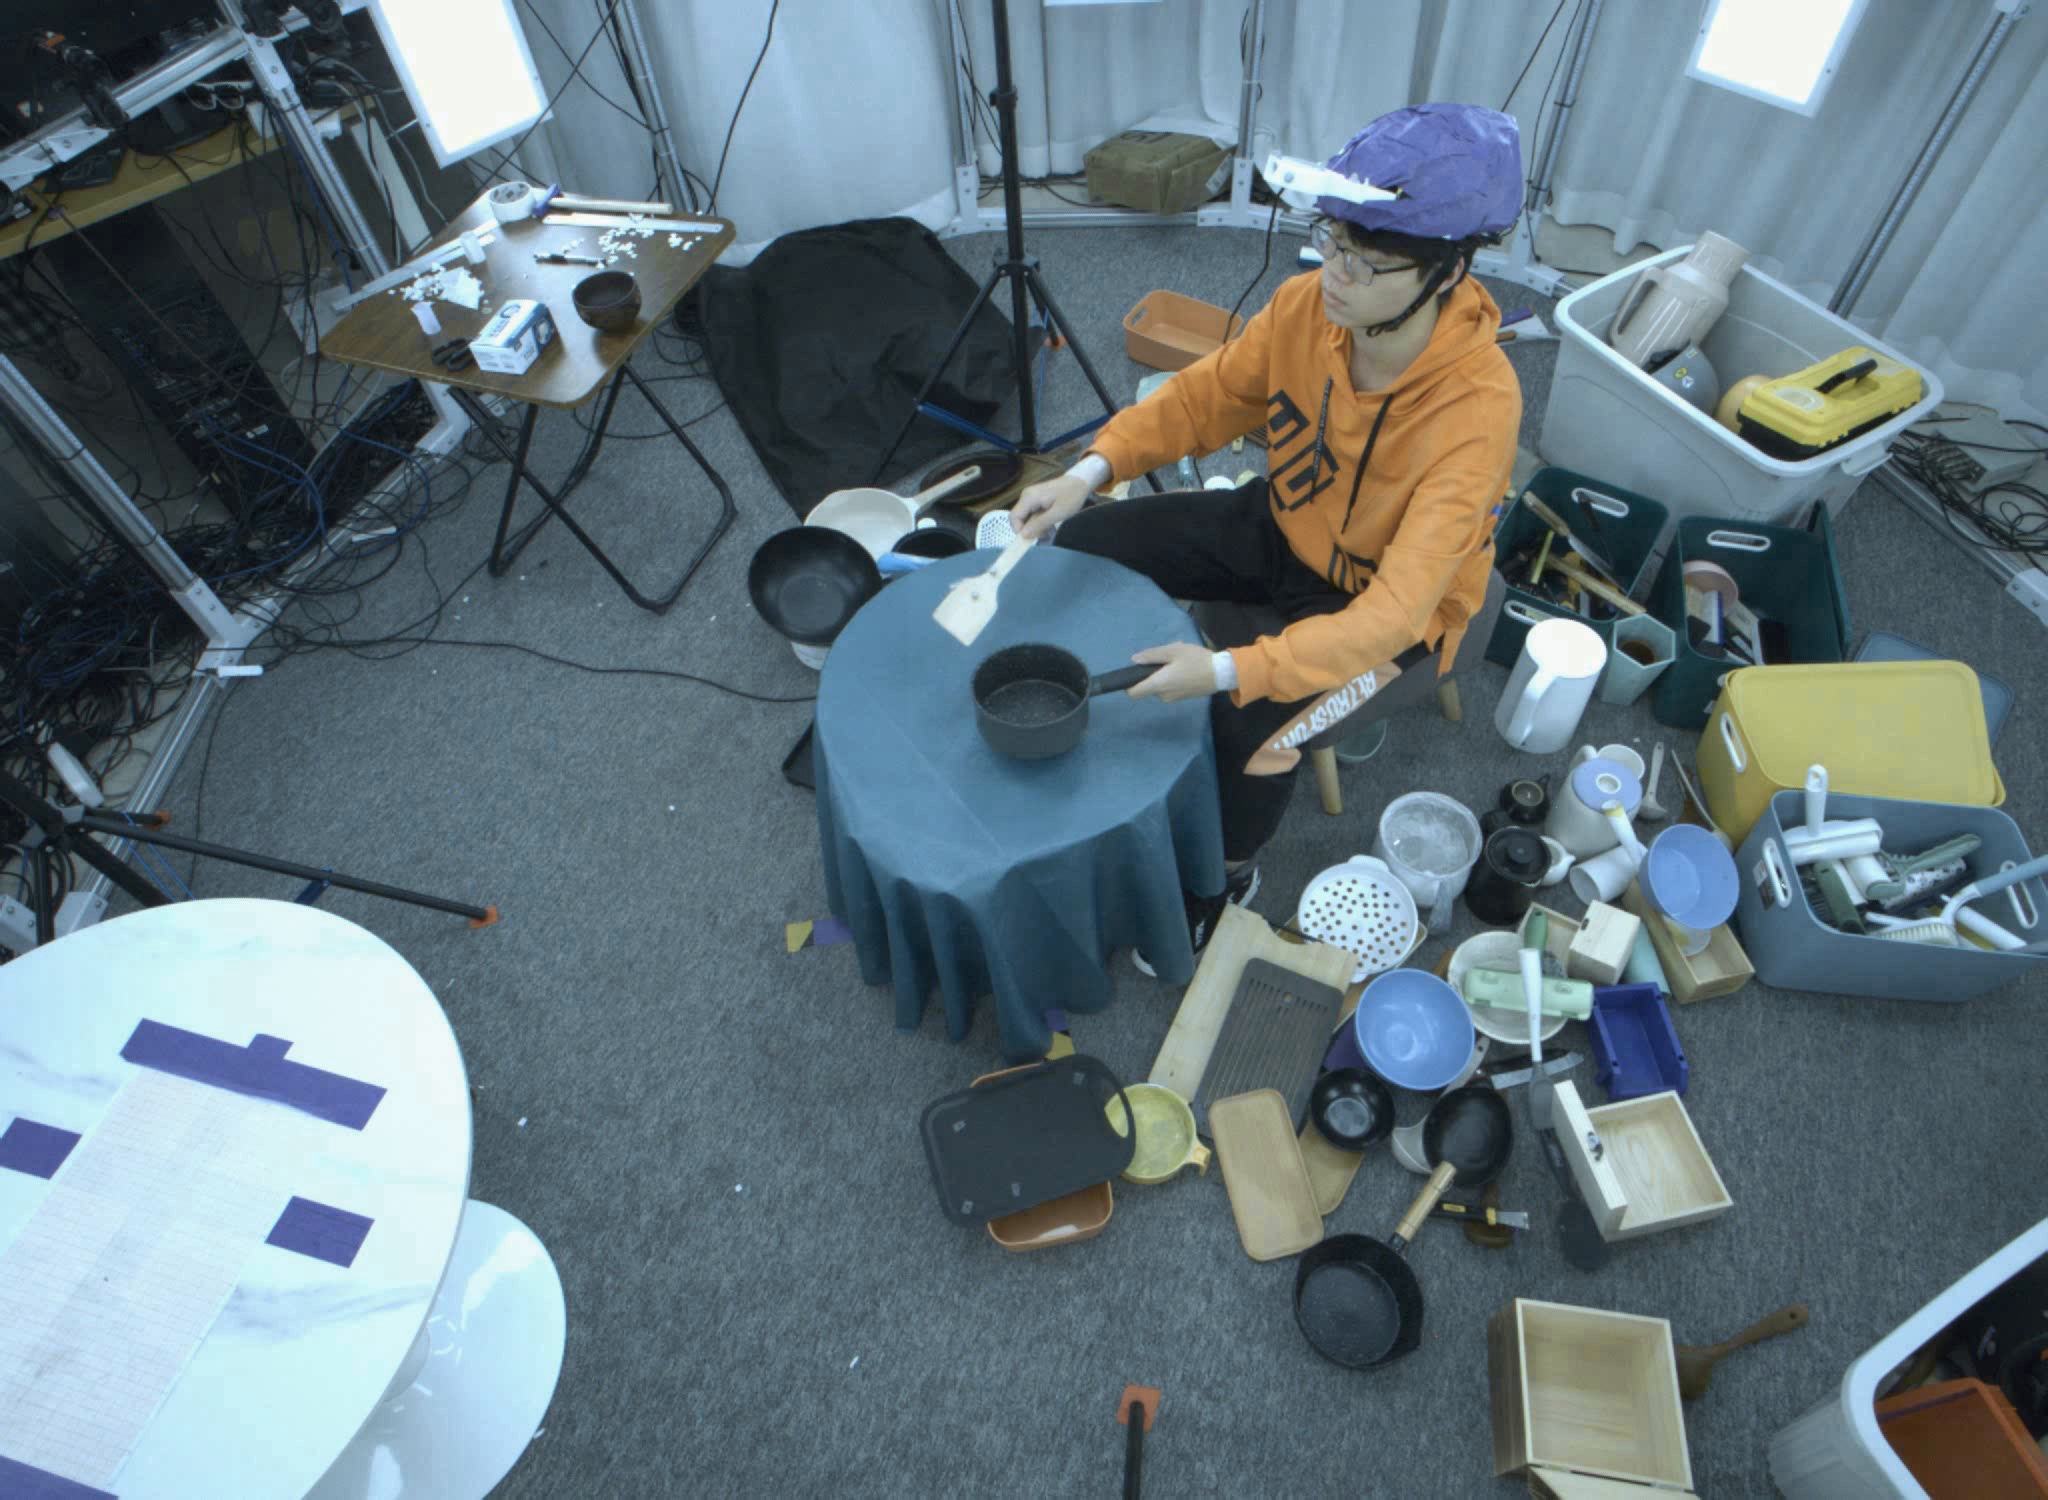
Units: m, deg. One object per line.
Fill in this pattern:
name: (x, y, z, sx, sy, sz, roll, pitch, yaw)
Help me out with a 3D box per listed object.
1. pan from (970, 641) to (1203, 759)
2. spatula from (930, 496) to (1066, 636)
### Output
pan: (0.090, -0.081, 1.750, 0.329, 0.087, 0.169, -7, 49, -3)
spatula: (-0.029, -0.285, 1.822, 0.073, 0.010, 0.294, 44, 64, -8)
